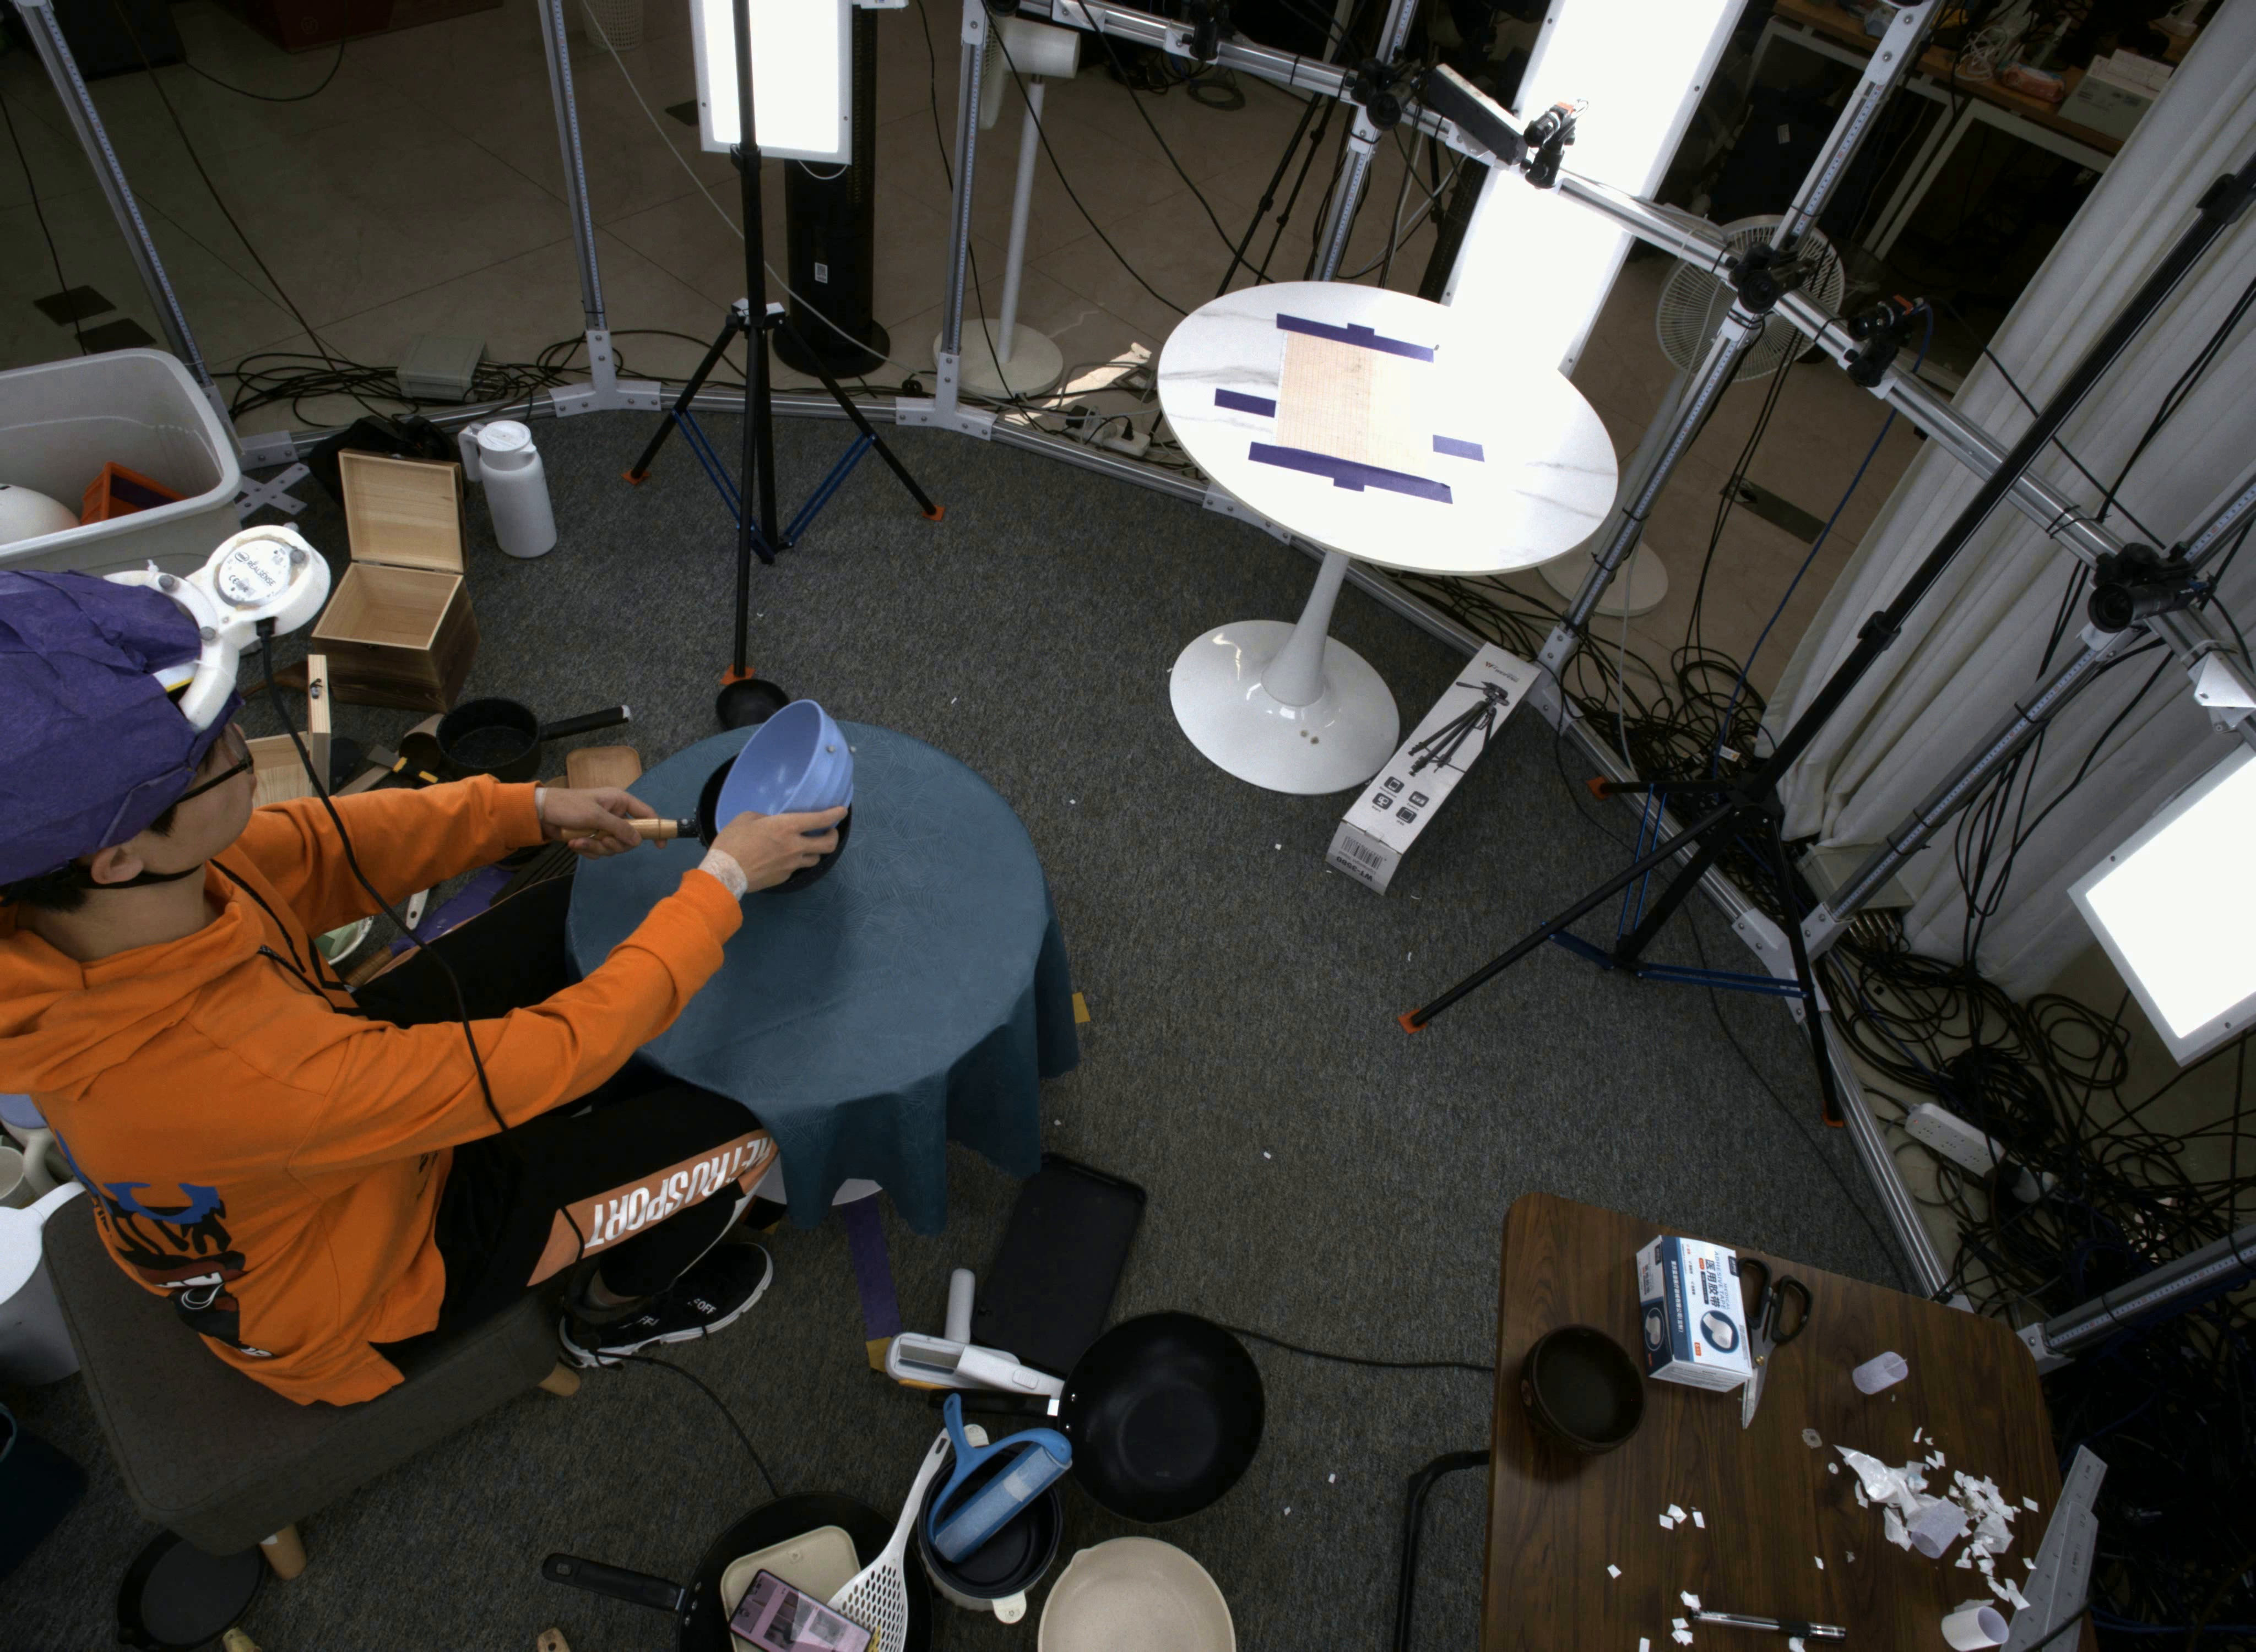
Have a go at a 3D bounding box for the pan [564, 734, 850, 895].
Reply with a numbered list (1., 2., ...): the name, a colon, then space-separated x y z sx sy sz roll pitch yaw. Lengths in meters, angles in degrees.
1. pan: -0.509 0.003 1.561 0.344 0.109 0.204 -9 67 -20

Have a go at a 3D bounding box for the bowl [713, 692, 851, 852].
1. bowl: -0.395 -0.049 1.536 0.099 0.194 0.192 35 39 -38
